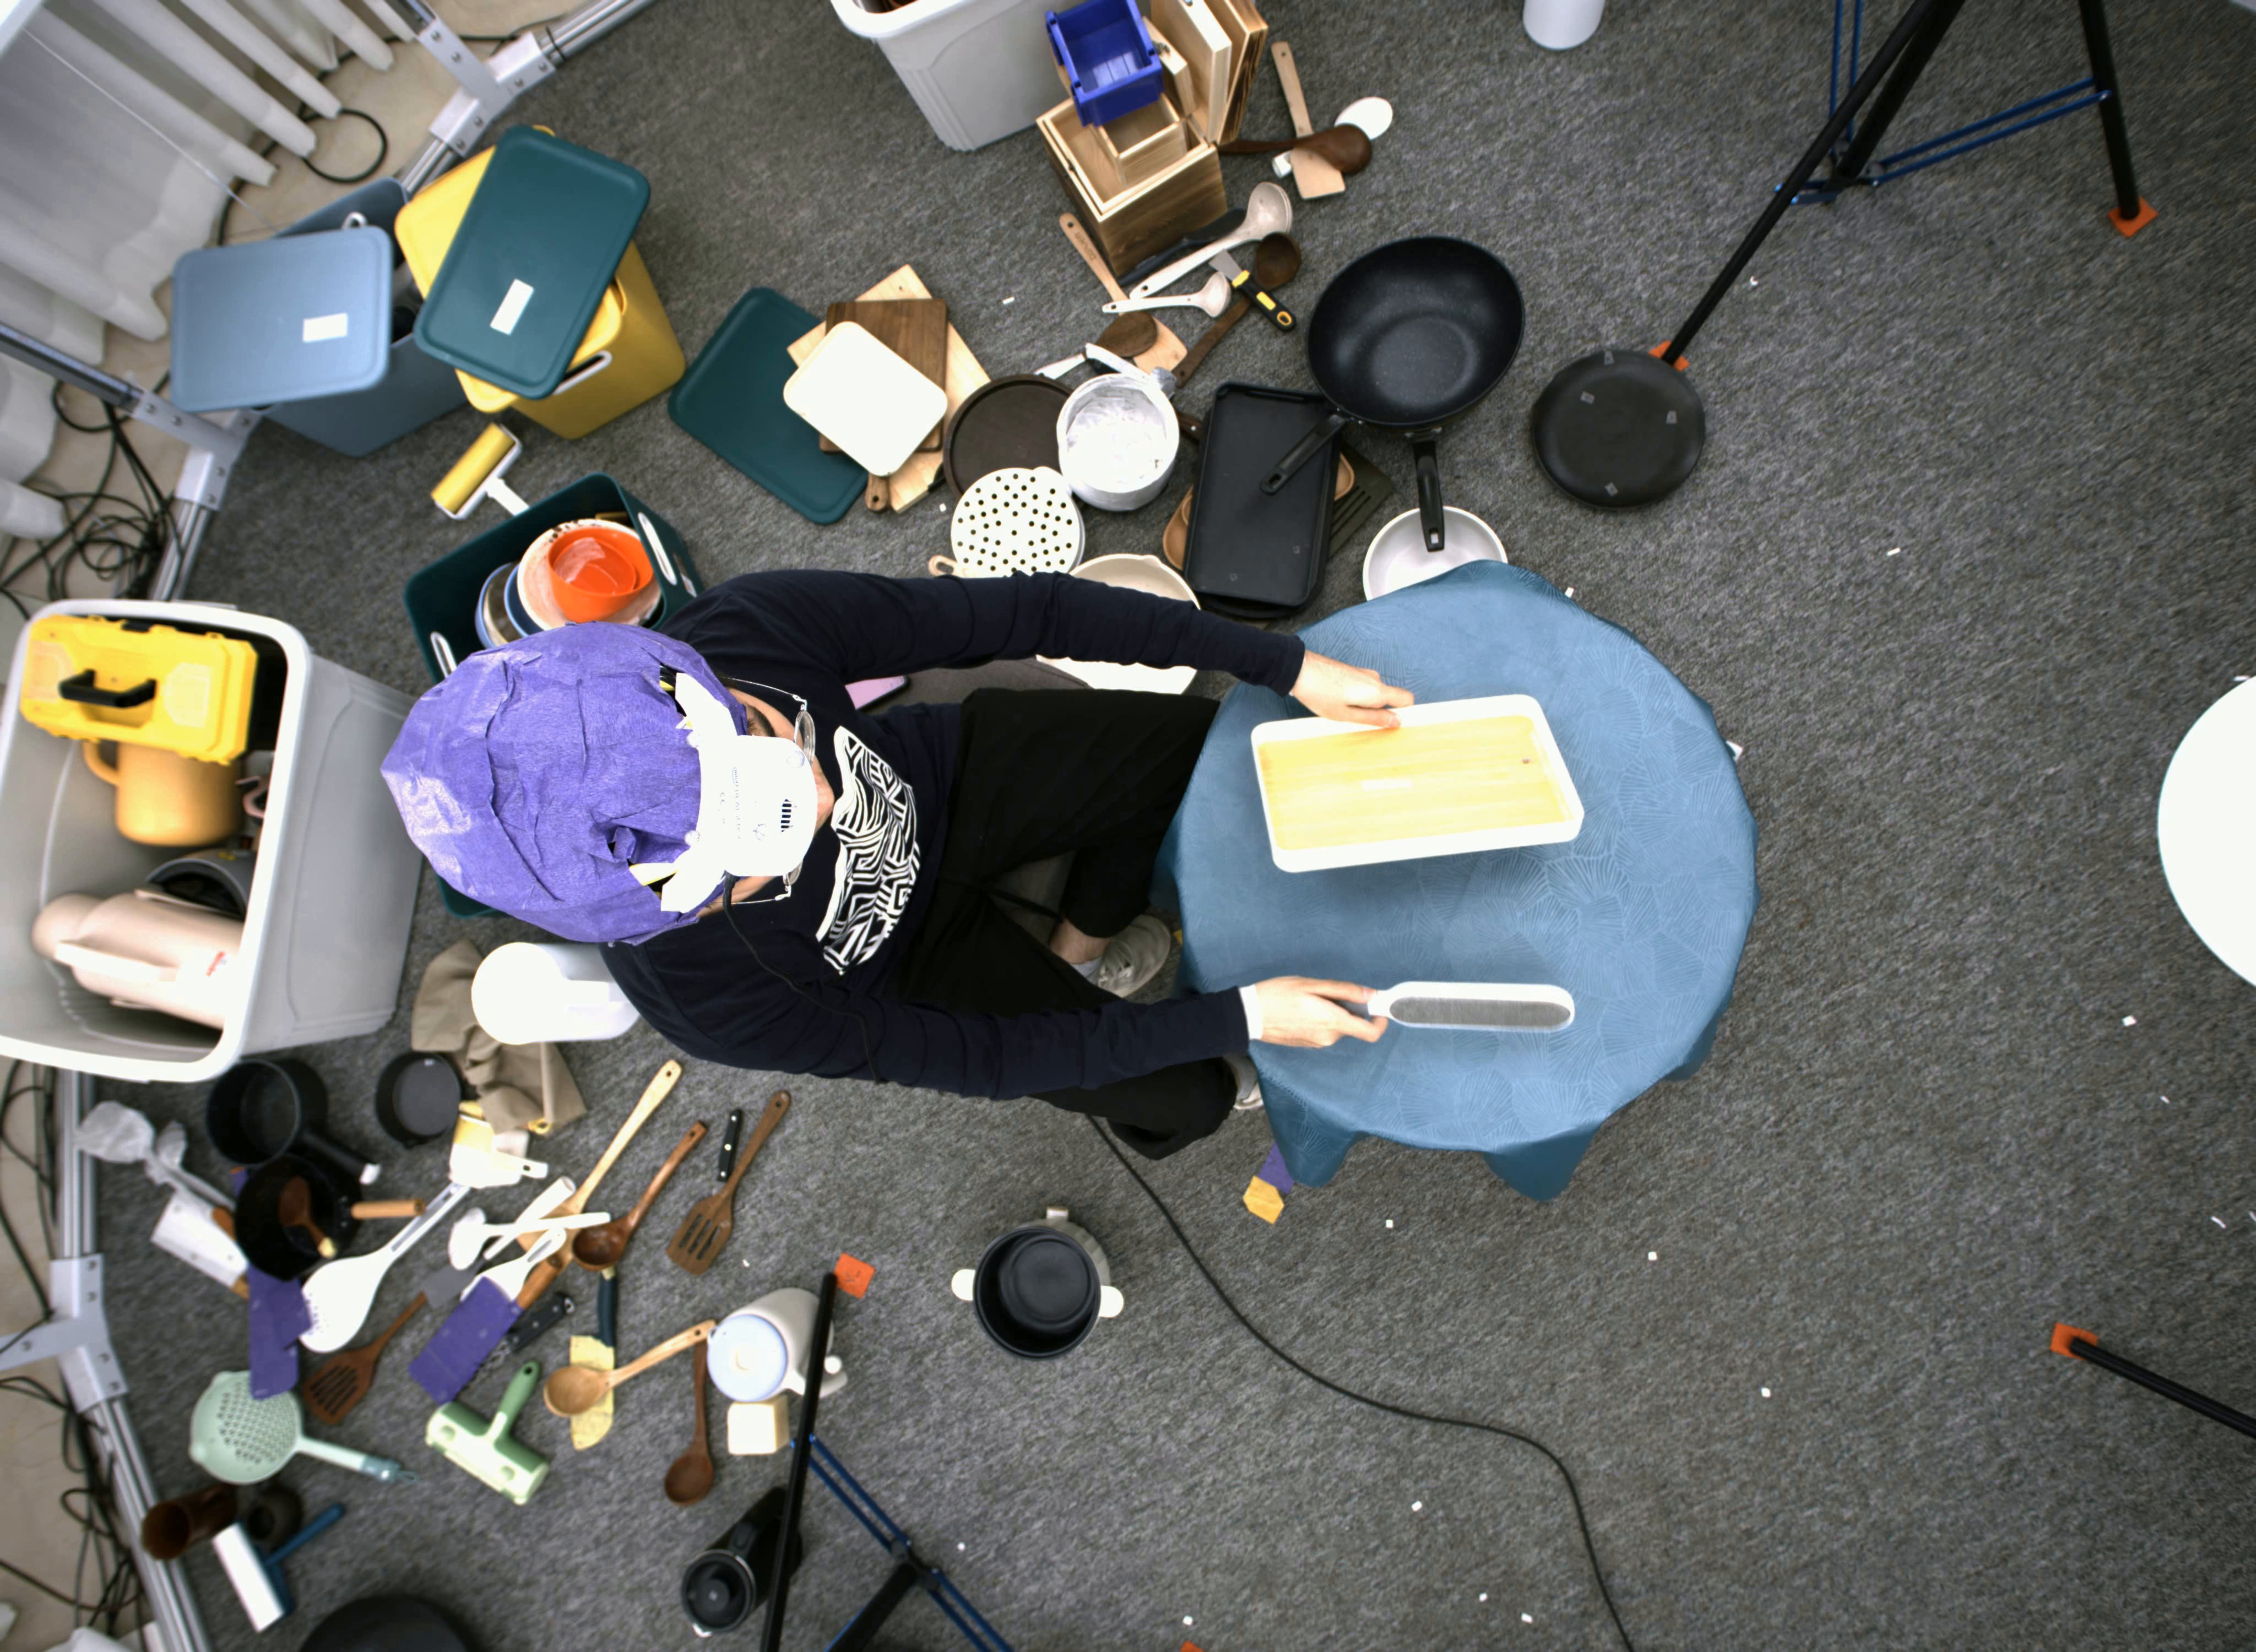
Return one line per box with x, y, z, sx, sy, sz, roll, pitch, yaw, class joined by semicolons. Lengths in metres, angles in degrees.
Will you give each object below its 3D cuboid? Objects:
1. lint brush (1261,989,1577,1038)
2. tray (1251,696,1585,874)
0.285;0.181;1.373;0.310;0.061;0.020;1;51;15;lint brush
0.282;-0.045;1.368;0.301;0.028;0.186;-7;47;3;tray
